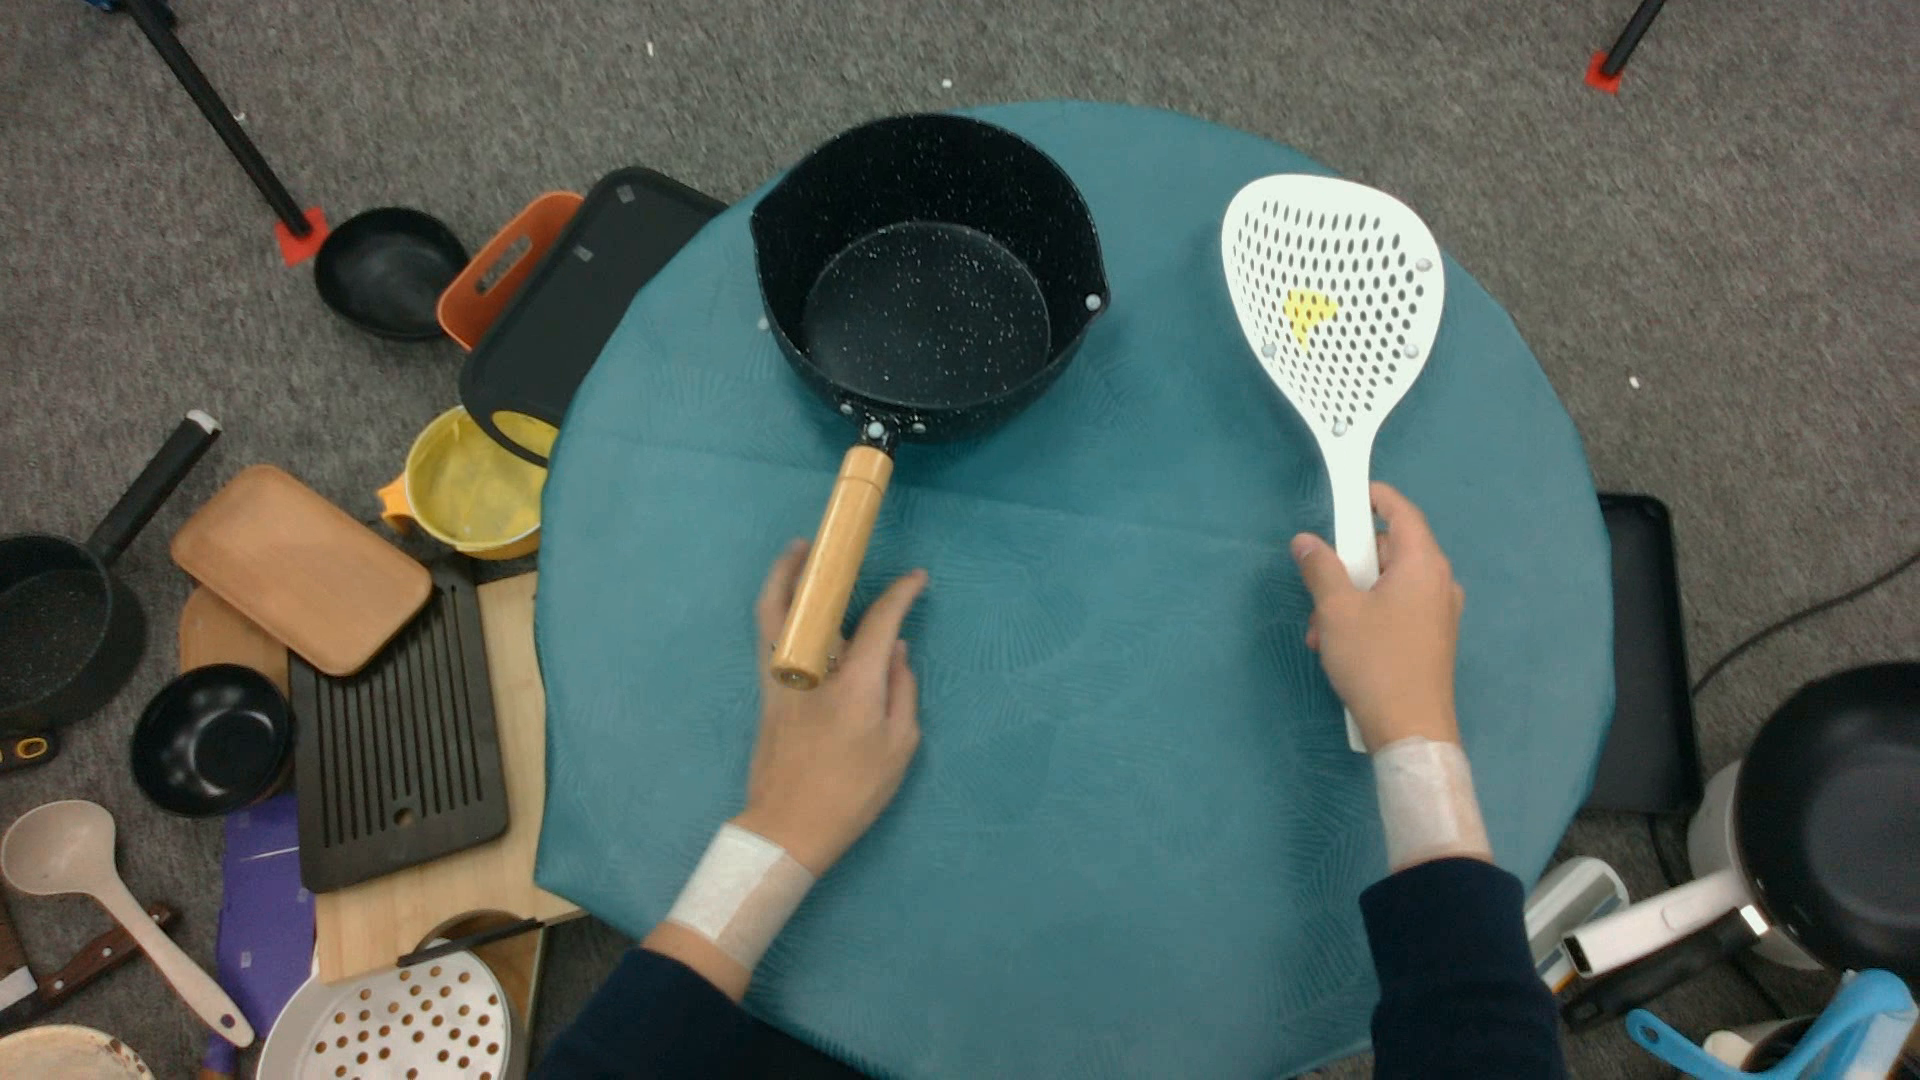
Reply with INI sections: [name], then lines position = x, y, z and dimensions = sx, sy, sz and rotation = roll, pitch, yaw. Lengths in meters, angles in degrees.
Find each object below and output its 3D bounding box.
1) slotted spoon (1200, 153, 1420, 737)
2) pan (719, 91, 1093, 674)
[slotted spoon]
position = 0.201, -0.065, 0.760
dimensions = 0.137, 0.050, 0.349
rotation = 5, 62, -13
[pan]
position = -0.046, -0.079, 0.733
dimensions = 0.207, 0.108, 0.344
rotation = 13, 68, 1
